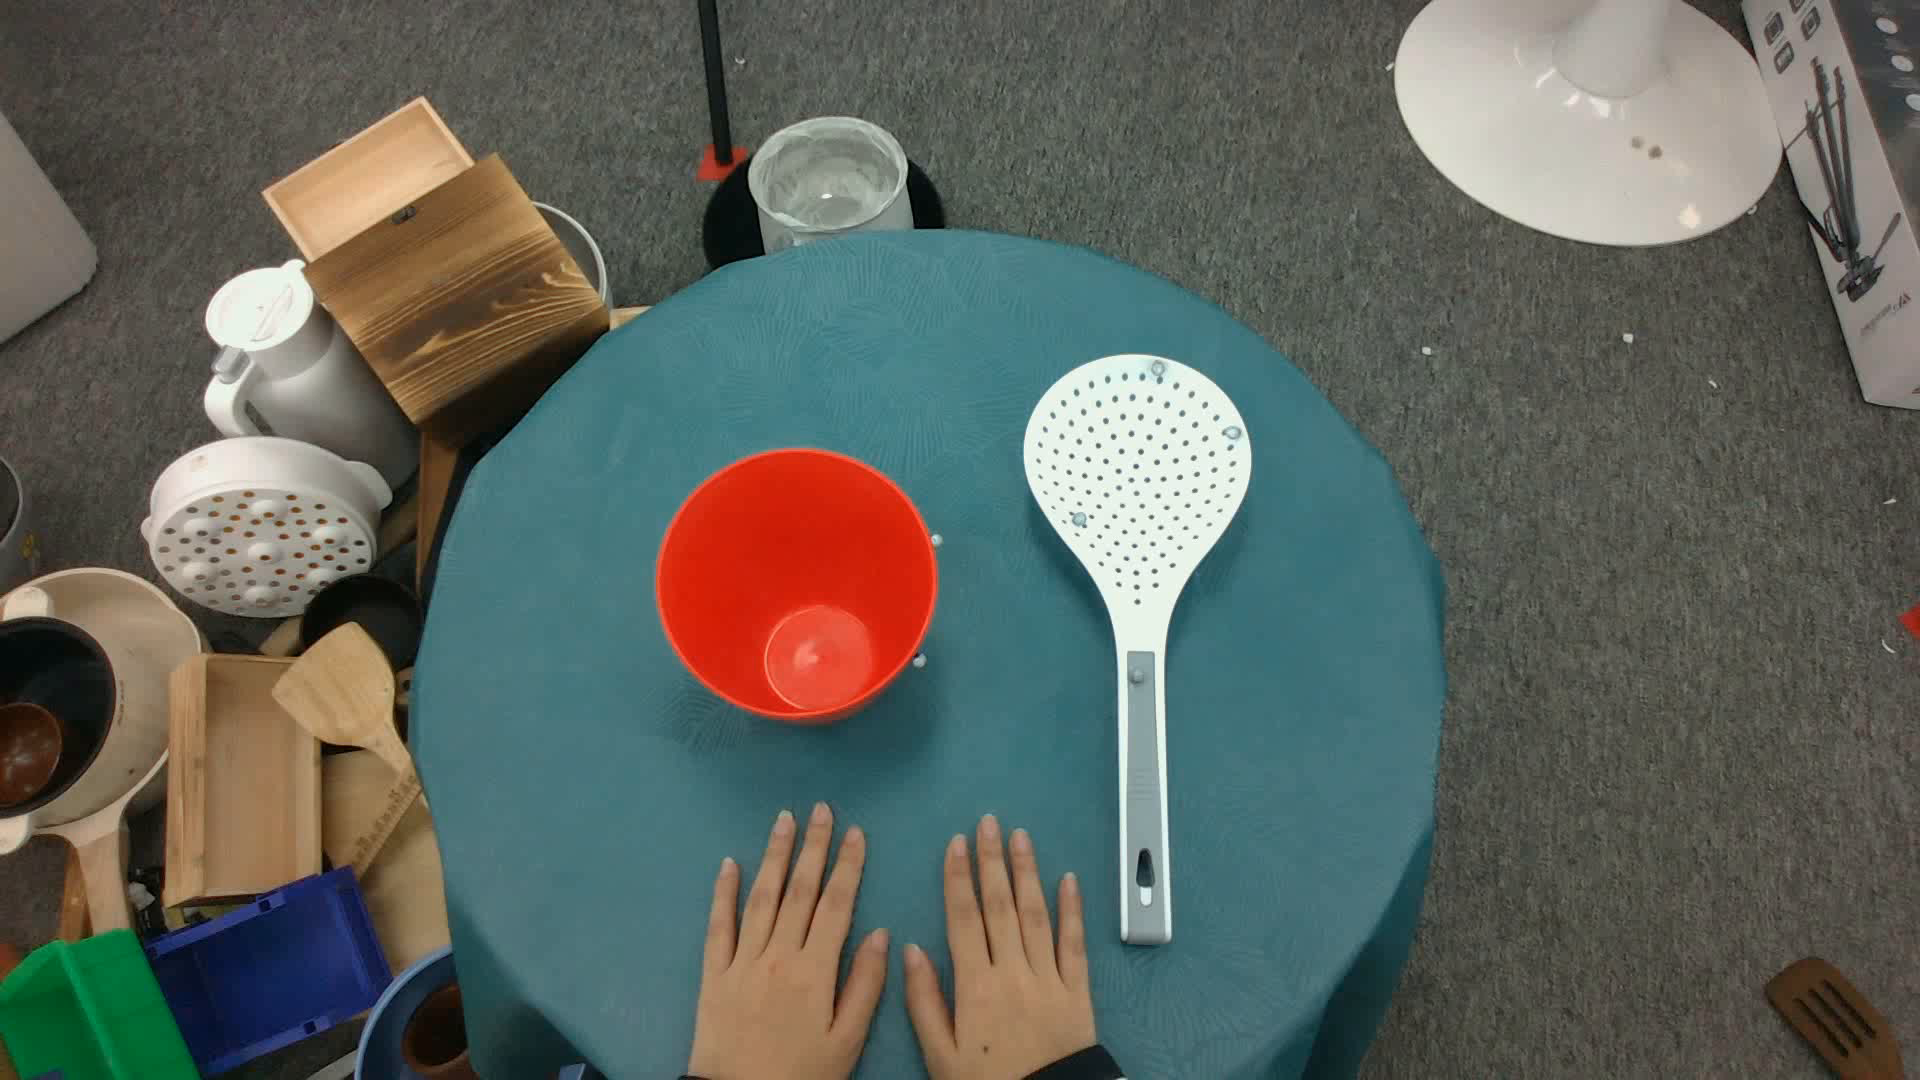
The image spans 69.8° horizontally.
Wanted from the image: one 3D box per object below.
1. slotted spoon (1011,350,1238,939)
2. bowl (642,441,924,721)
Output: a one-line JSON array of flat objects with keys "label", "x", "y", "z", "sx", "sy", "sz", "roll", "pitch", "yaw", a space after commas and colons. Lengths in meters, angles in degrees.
[{"label": "slotted spoon", "x": 0.095, "y": 0.047, "z": 0.790, "sx": 0.136, "sy": 0.045, "sz": 0.351, "roll": 2, "pitch": 62, "yaw": 1}, {"label": "bowl", "x": -0.095, "y": 0.035, "z": 0.761, "sx": 0.148, "sy": 0.104, "sz": 0.148, "roll": 2, "pitch": 62, "yaw": -3}]
